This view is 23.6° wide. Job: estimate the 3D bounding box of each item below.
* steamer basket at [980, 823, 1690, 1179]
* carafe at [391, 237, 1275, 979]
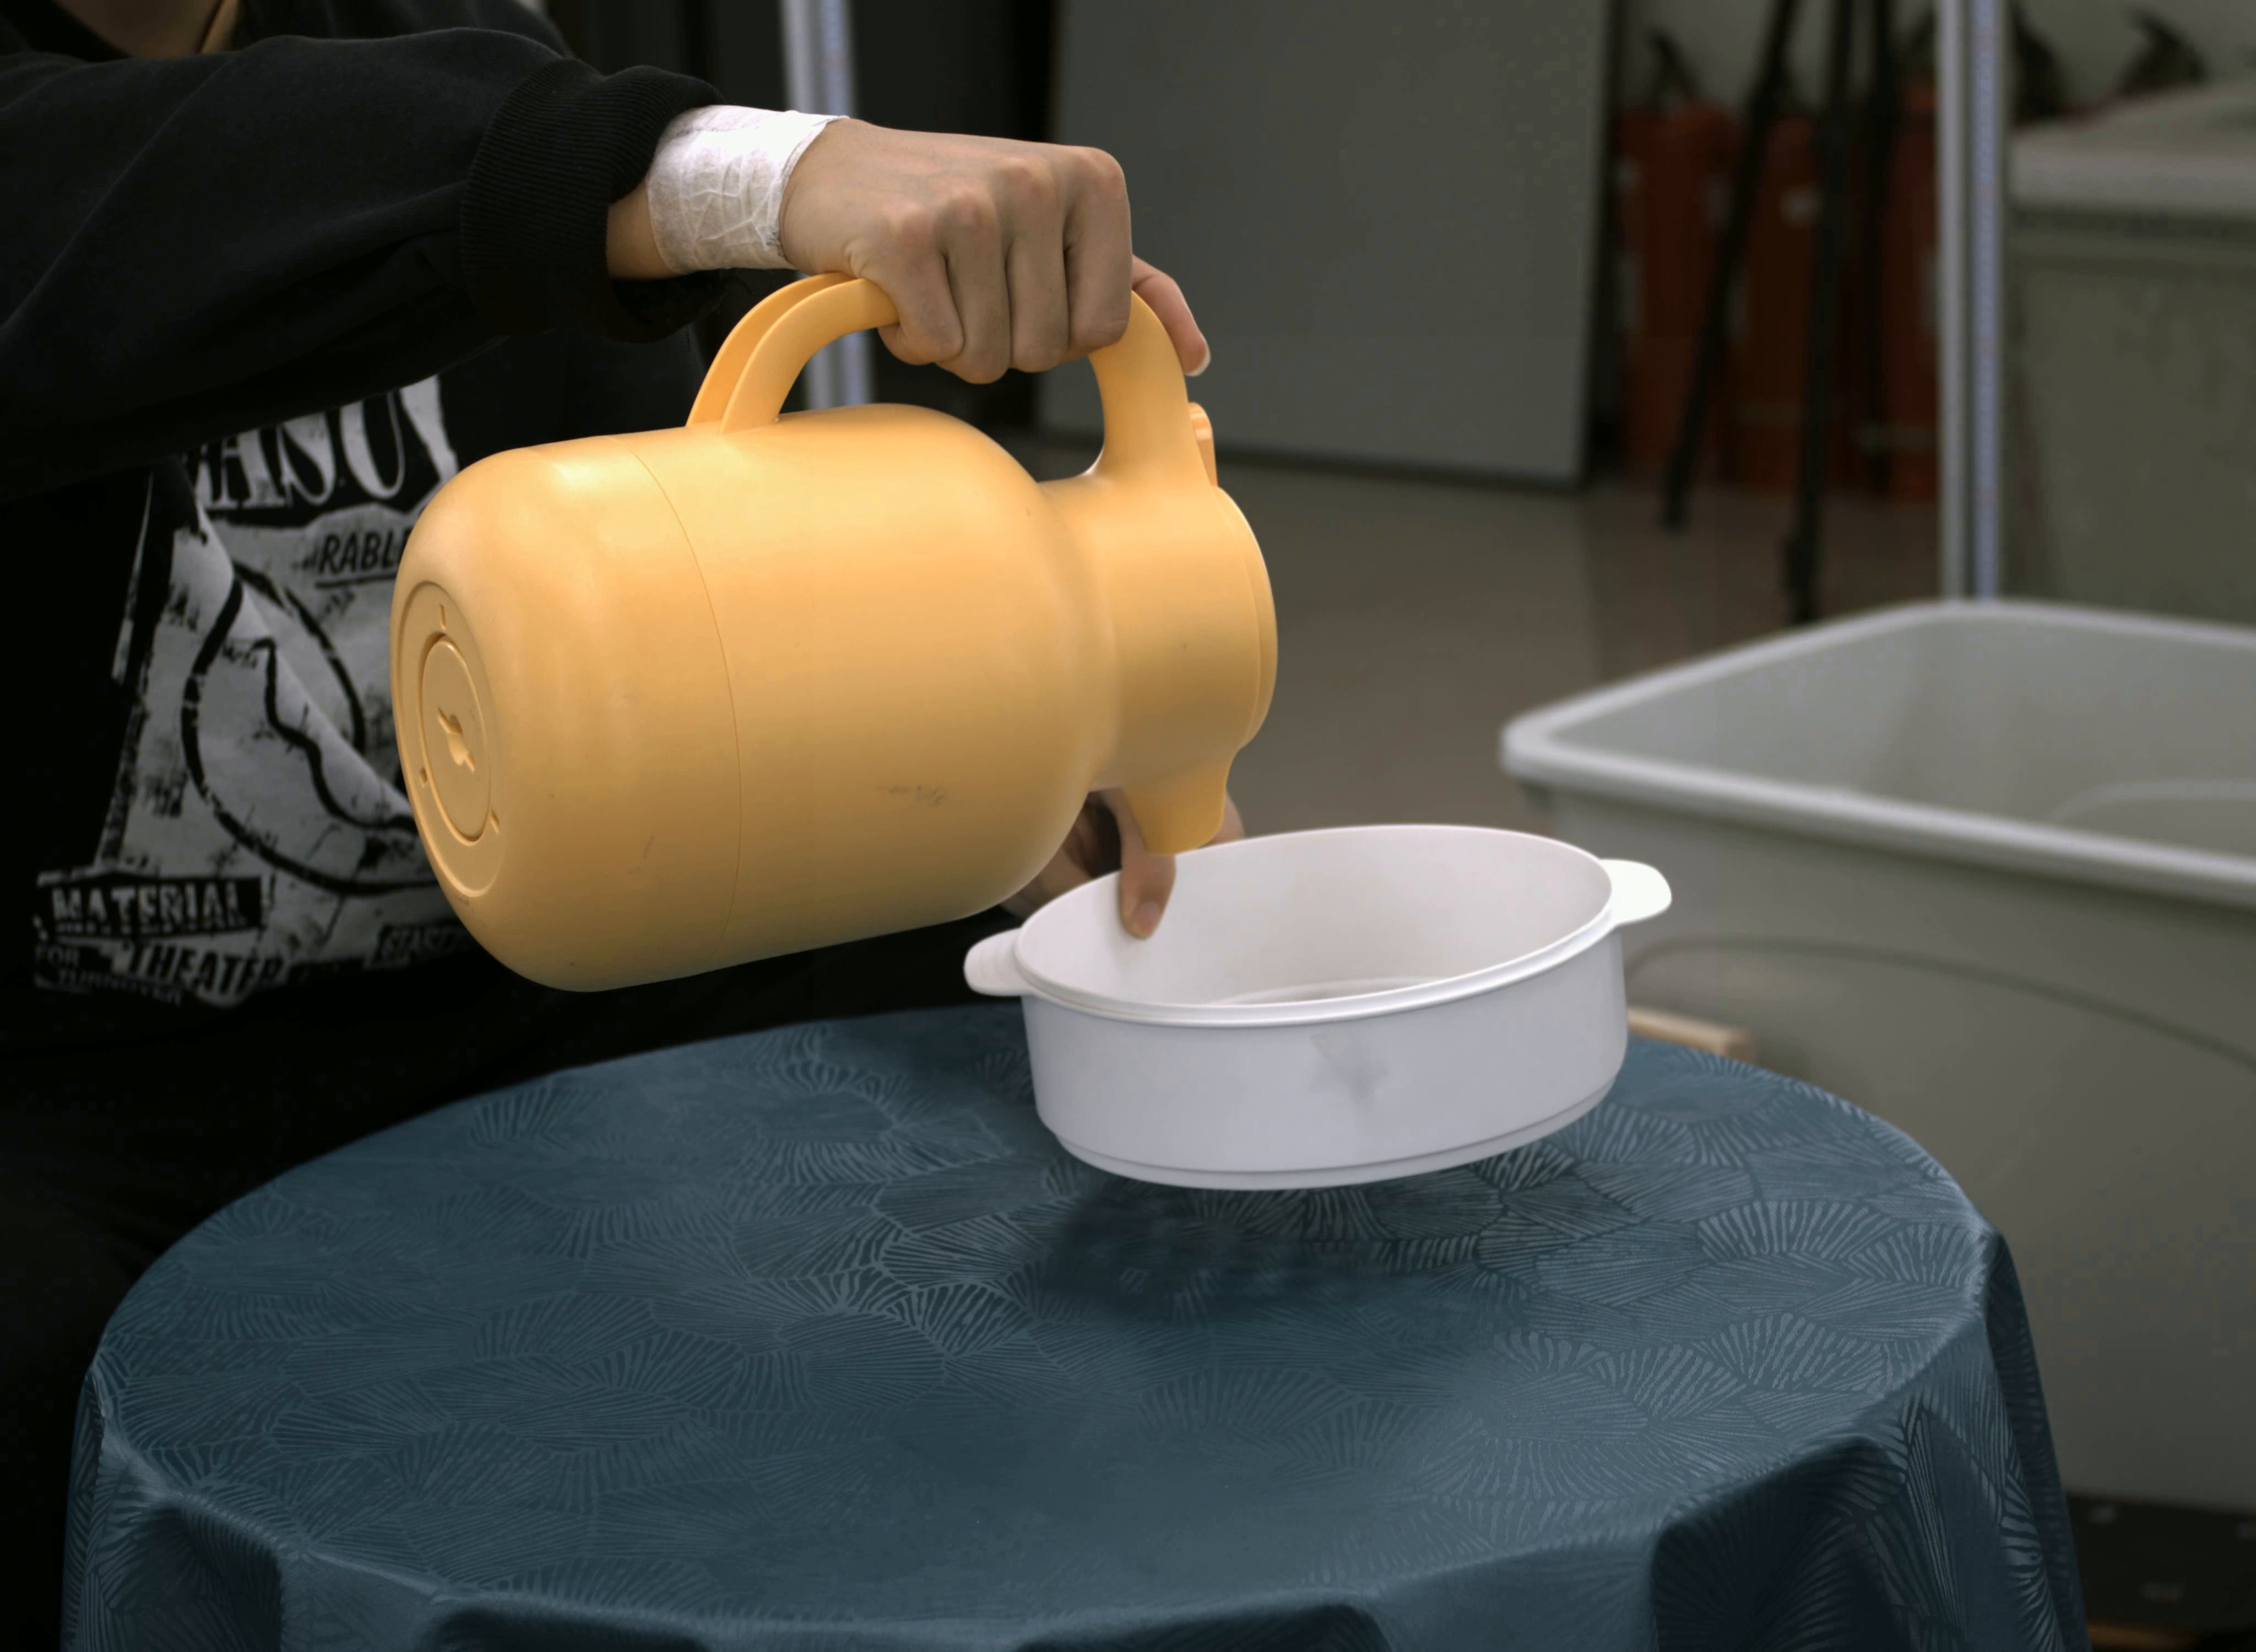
[{"bbox_3d":[0.068,0.056,1.733,0.227,0.070,0.202,-4,14,0],"label":"steamer basket"},{"bbox_3d":[-0.085,-0.070,1.624,0.254,0.205,0.165,-9,9,-26],"label":"carafe"}]
